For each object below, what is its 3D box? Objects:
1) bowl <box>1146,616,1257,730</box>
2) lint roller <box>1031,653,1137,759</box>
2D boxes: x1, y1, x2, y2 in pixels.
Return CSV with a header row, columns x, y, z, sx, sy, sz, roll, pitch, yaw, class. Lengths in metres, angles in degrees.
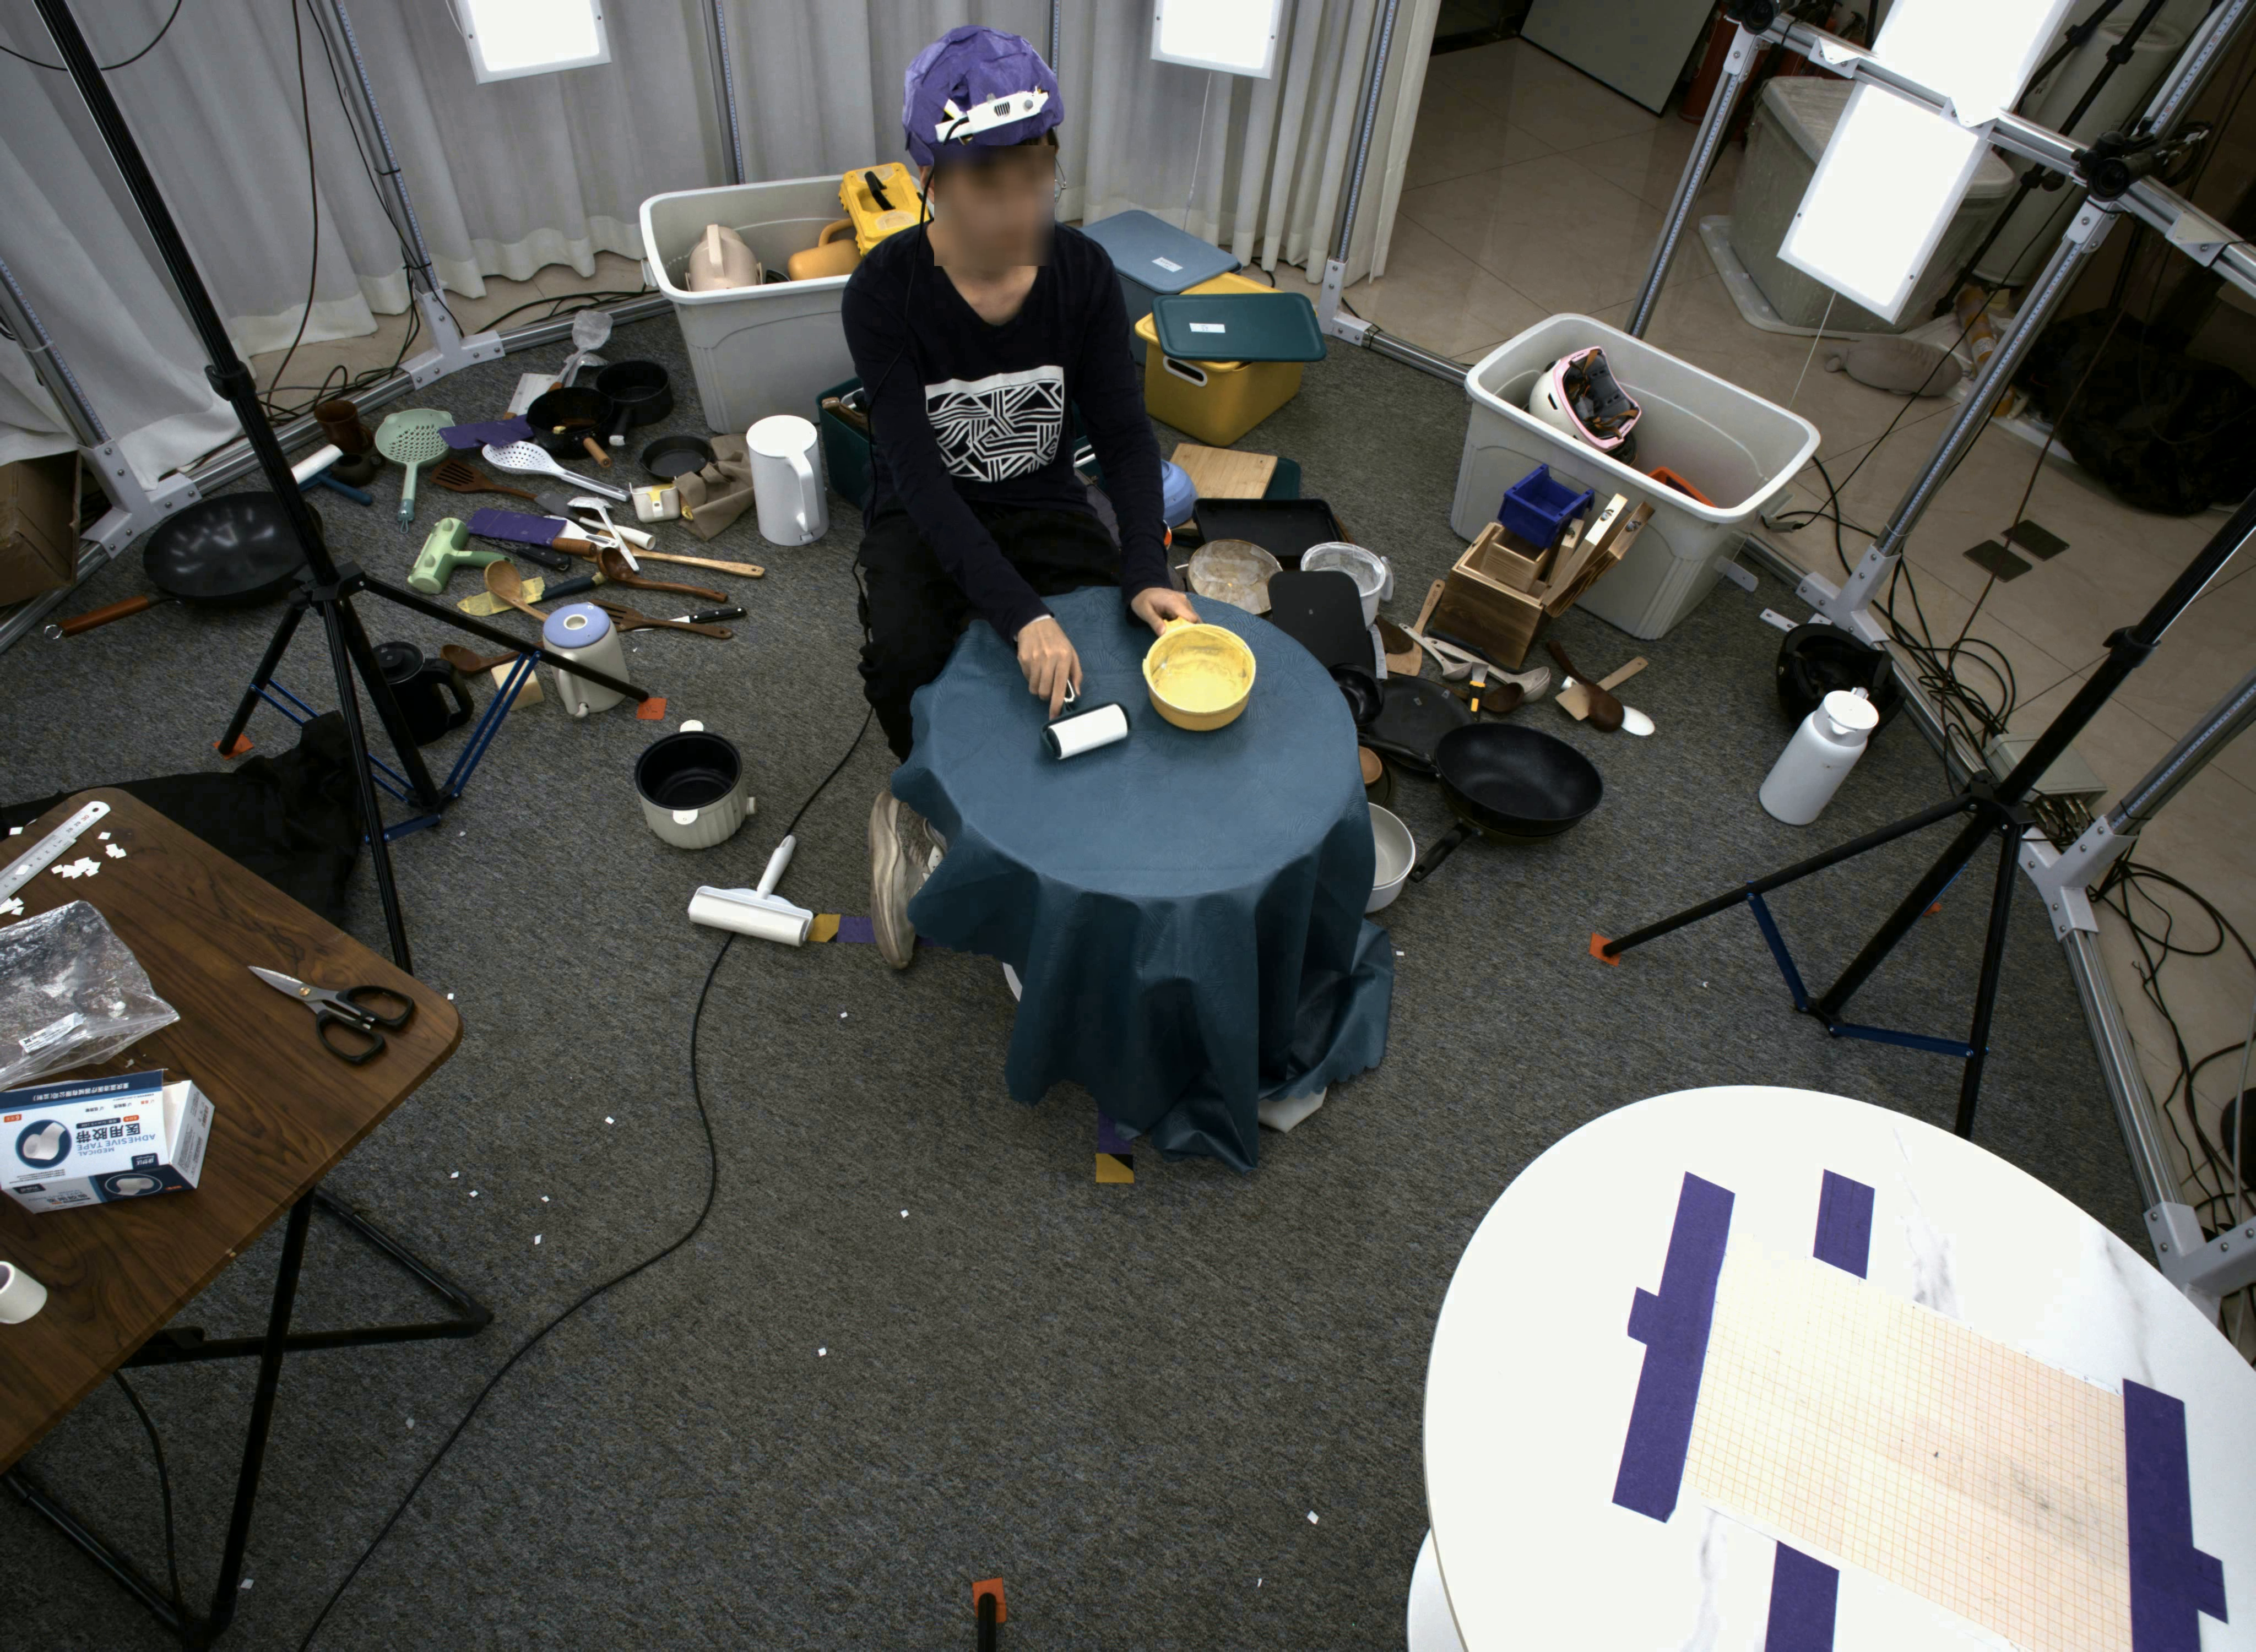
x,y,z,sx,sy,sz,roll,pitch,yaw,class
0.097,-0.216,1.808,0.153,0.072,0.183,-24,61,-13,bowl
-0.086,-0.184,1.770,0.134,0.047,0.183,-22,63,-16,lint roller
